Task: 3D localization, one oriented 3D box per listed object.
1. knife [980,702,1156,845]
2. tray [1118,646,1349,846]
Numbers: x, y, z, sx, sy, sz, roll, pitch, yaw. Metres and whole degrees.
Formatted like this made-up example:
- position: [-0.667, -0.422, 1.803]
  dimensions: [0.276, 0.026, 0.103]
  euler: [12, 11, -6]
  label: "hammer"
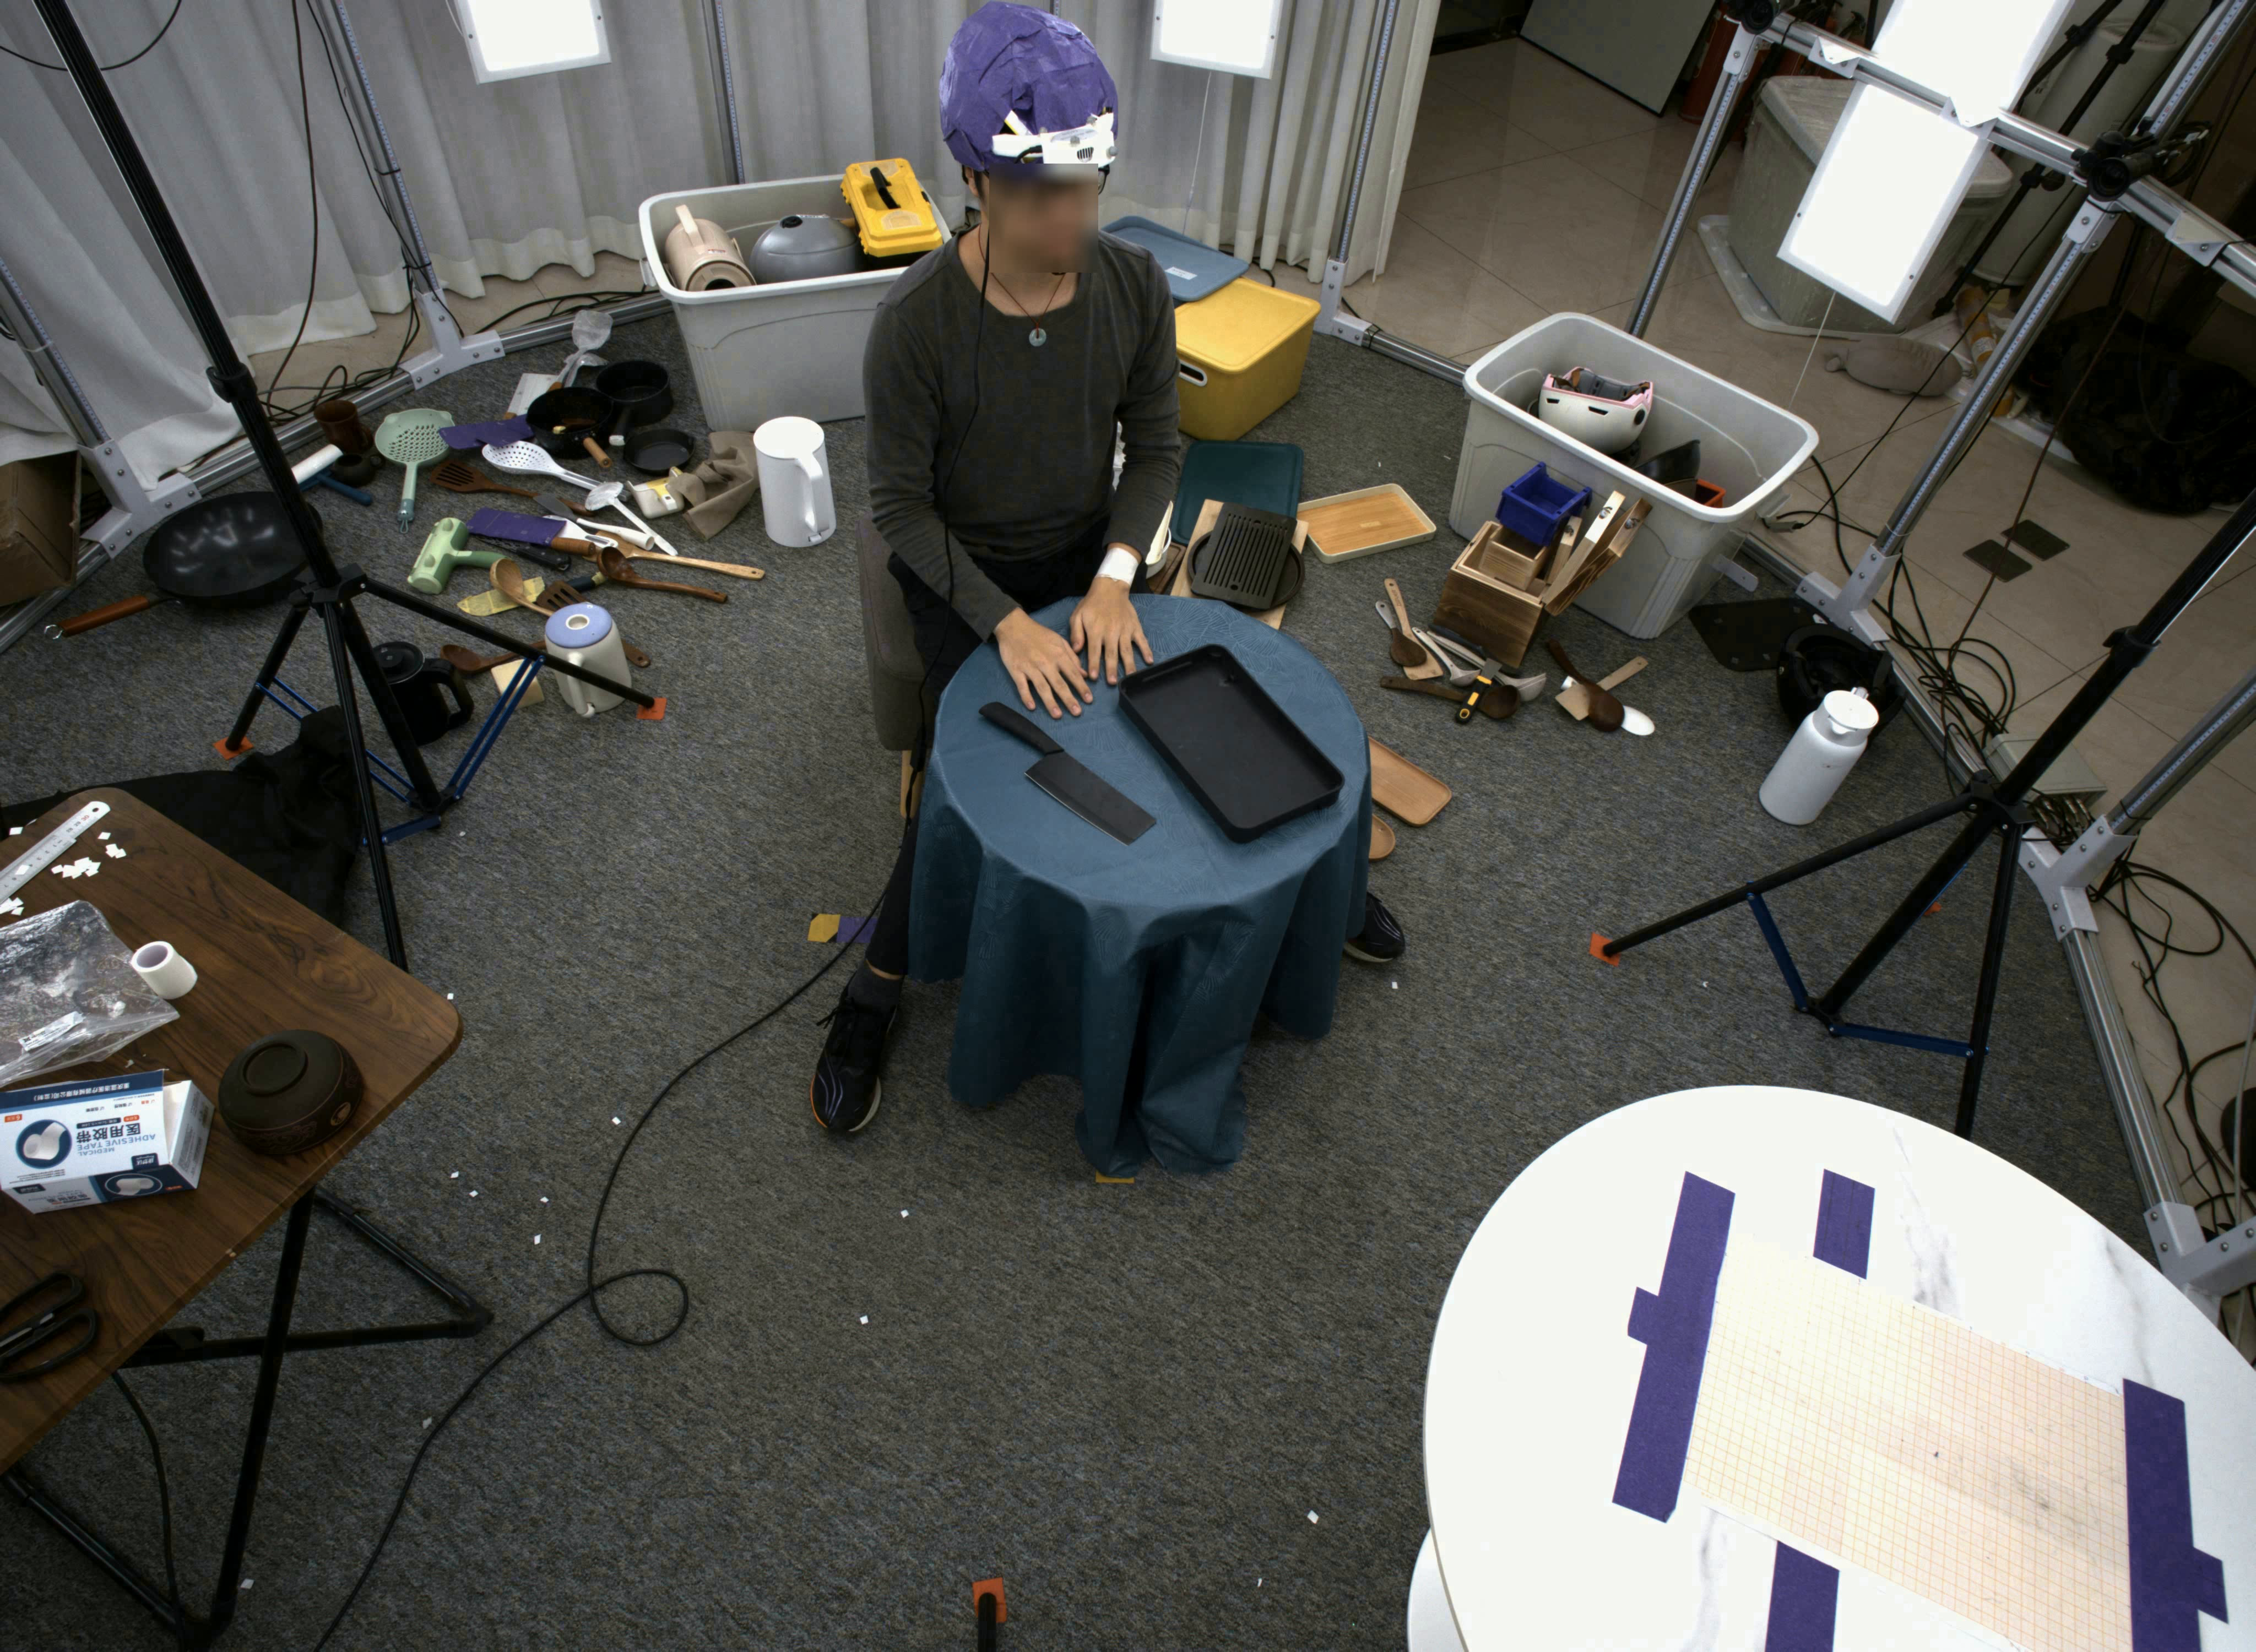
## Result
- position: [-0.091, -0.075, 1.718]
  dimensions: [0.081, 0.020, 0.307]
  euler: [-35, 61, -27]
  label: "knife"
- position: [0.138, -0.117, 1.755]
  dimensions: [0.185, 0.036, 0.324]
  euler: [-24, 54, -23]
  label: "tray"
